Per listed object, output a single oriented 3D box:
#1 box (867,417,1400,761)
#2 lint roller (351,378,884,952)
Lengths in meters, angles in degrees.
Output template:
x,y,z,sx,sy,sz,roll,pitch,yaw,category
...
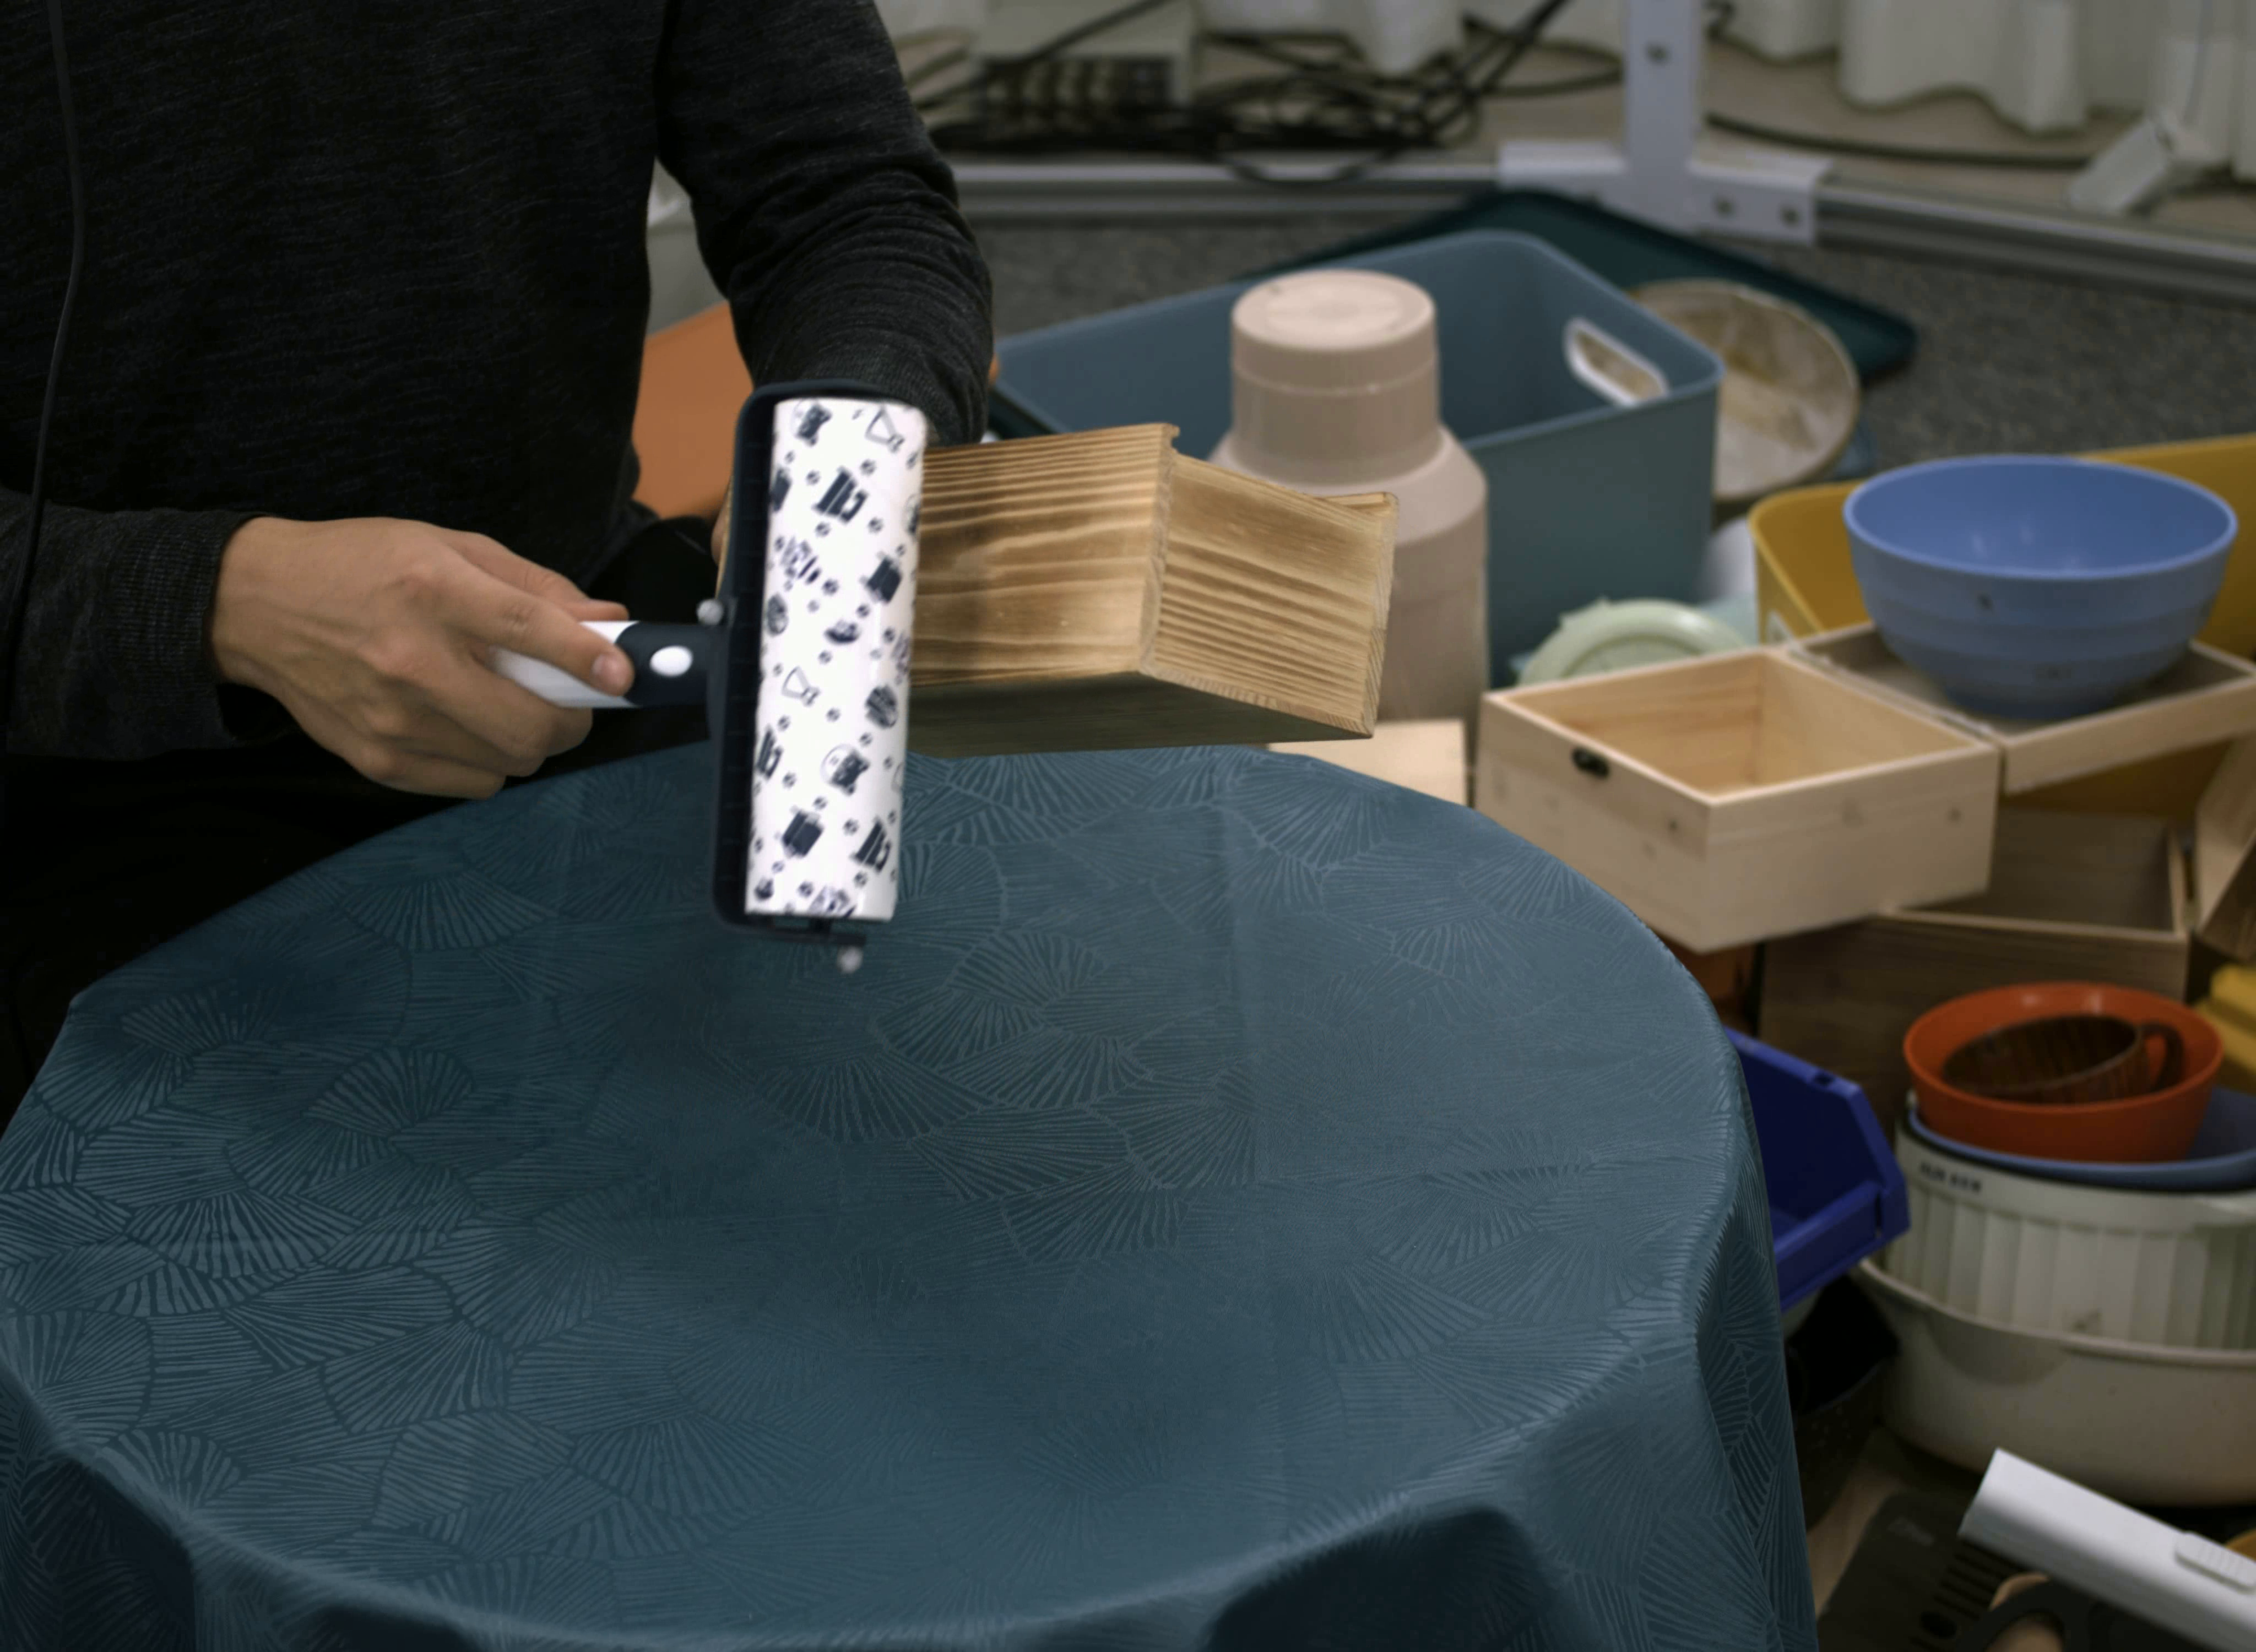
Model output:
x,y,z,sx,sy,sz,roll,pitch,yaw,category
-0.026,-0.074,1.830,0.107,0.081,0.209,16,-13,-43,box
-0.173,-0.049,1.811,0.244,0.177,0.050,-1,0,42,lint roller
